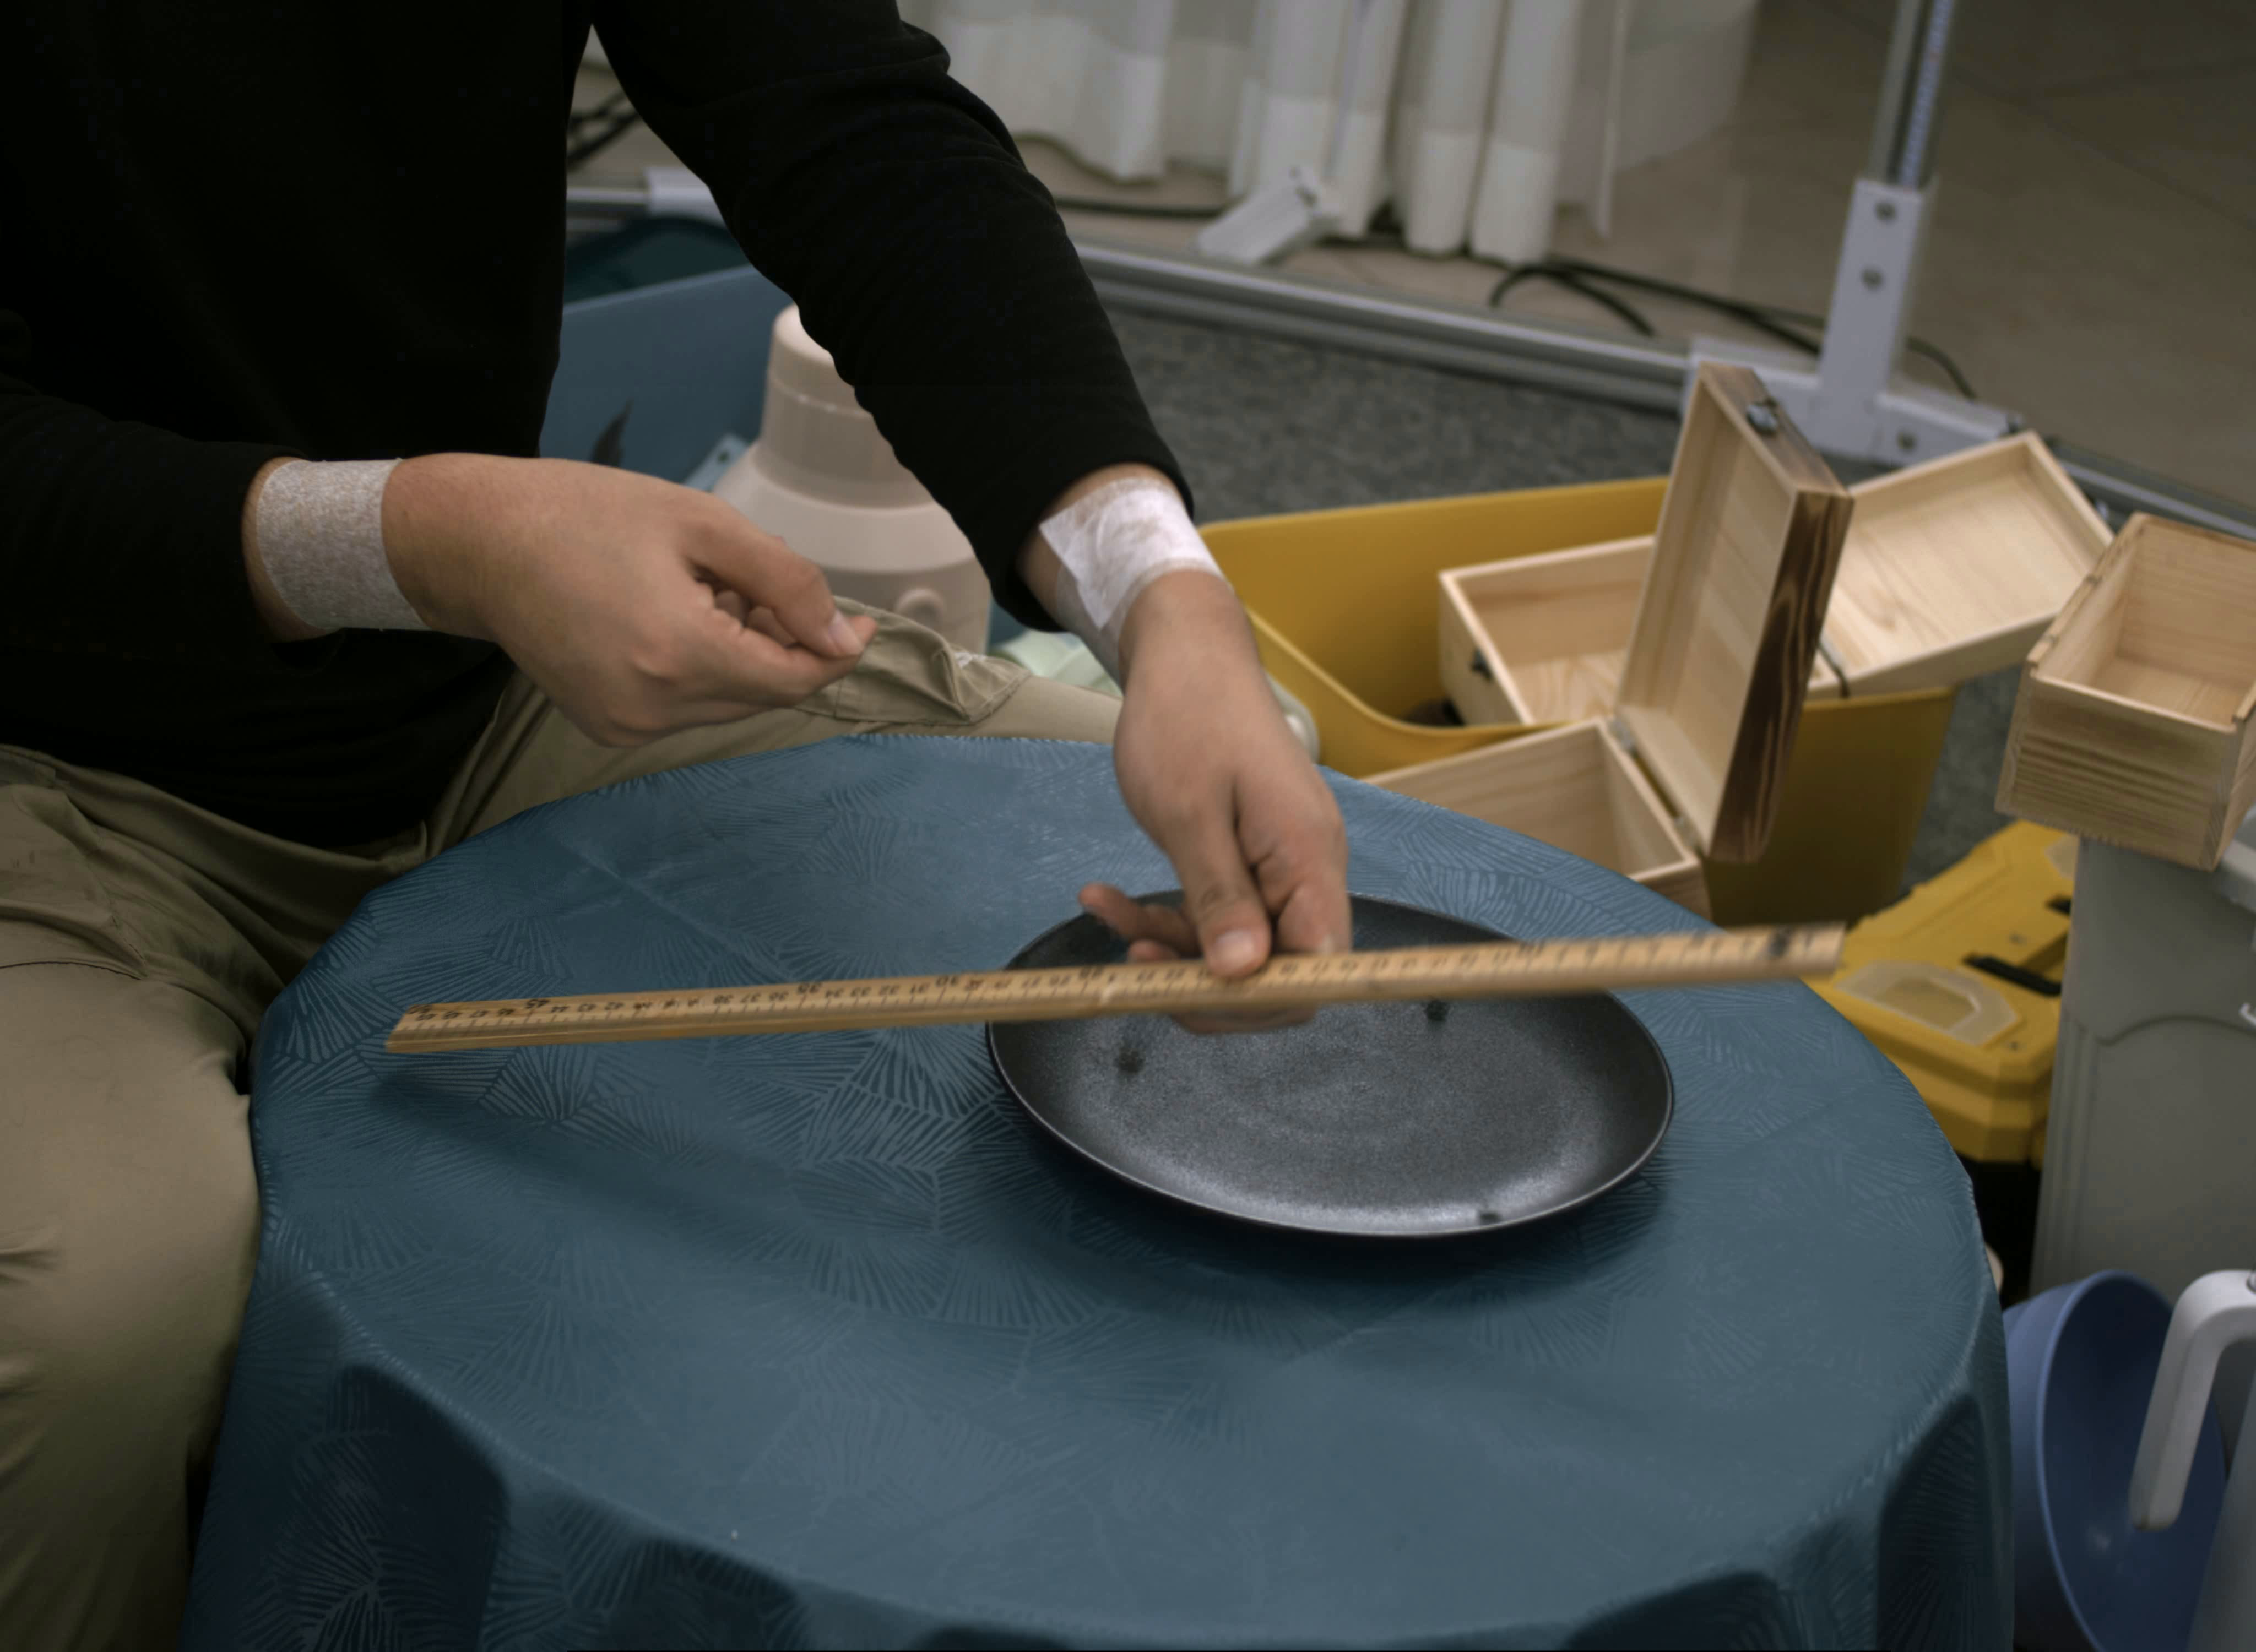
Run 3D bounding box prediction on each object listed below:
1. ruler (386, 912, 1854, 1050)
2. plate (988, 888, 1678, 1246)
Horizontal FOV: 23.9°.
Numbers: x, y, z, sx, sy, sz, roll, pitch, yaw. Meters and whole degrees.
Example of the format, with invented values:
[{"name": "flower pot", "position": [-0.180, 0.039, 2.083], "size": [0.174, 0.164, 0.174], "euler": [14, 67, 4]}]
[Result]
[{"name": "ruler", "position": [-0.012, 0.051, 1.727], "size": [0.501, 0.006, 0.027], "euler": [-4, 28, 19]}, {"name": "plate", "position": [0.071, 0.087, 1.862], "size": [0.243, 0.023, 0.246], "euler": [5, 27, -3]}]
